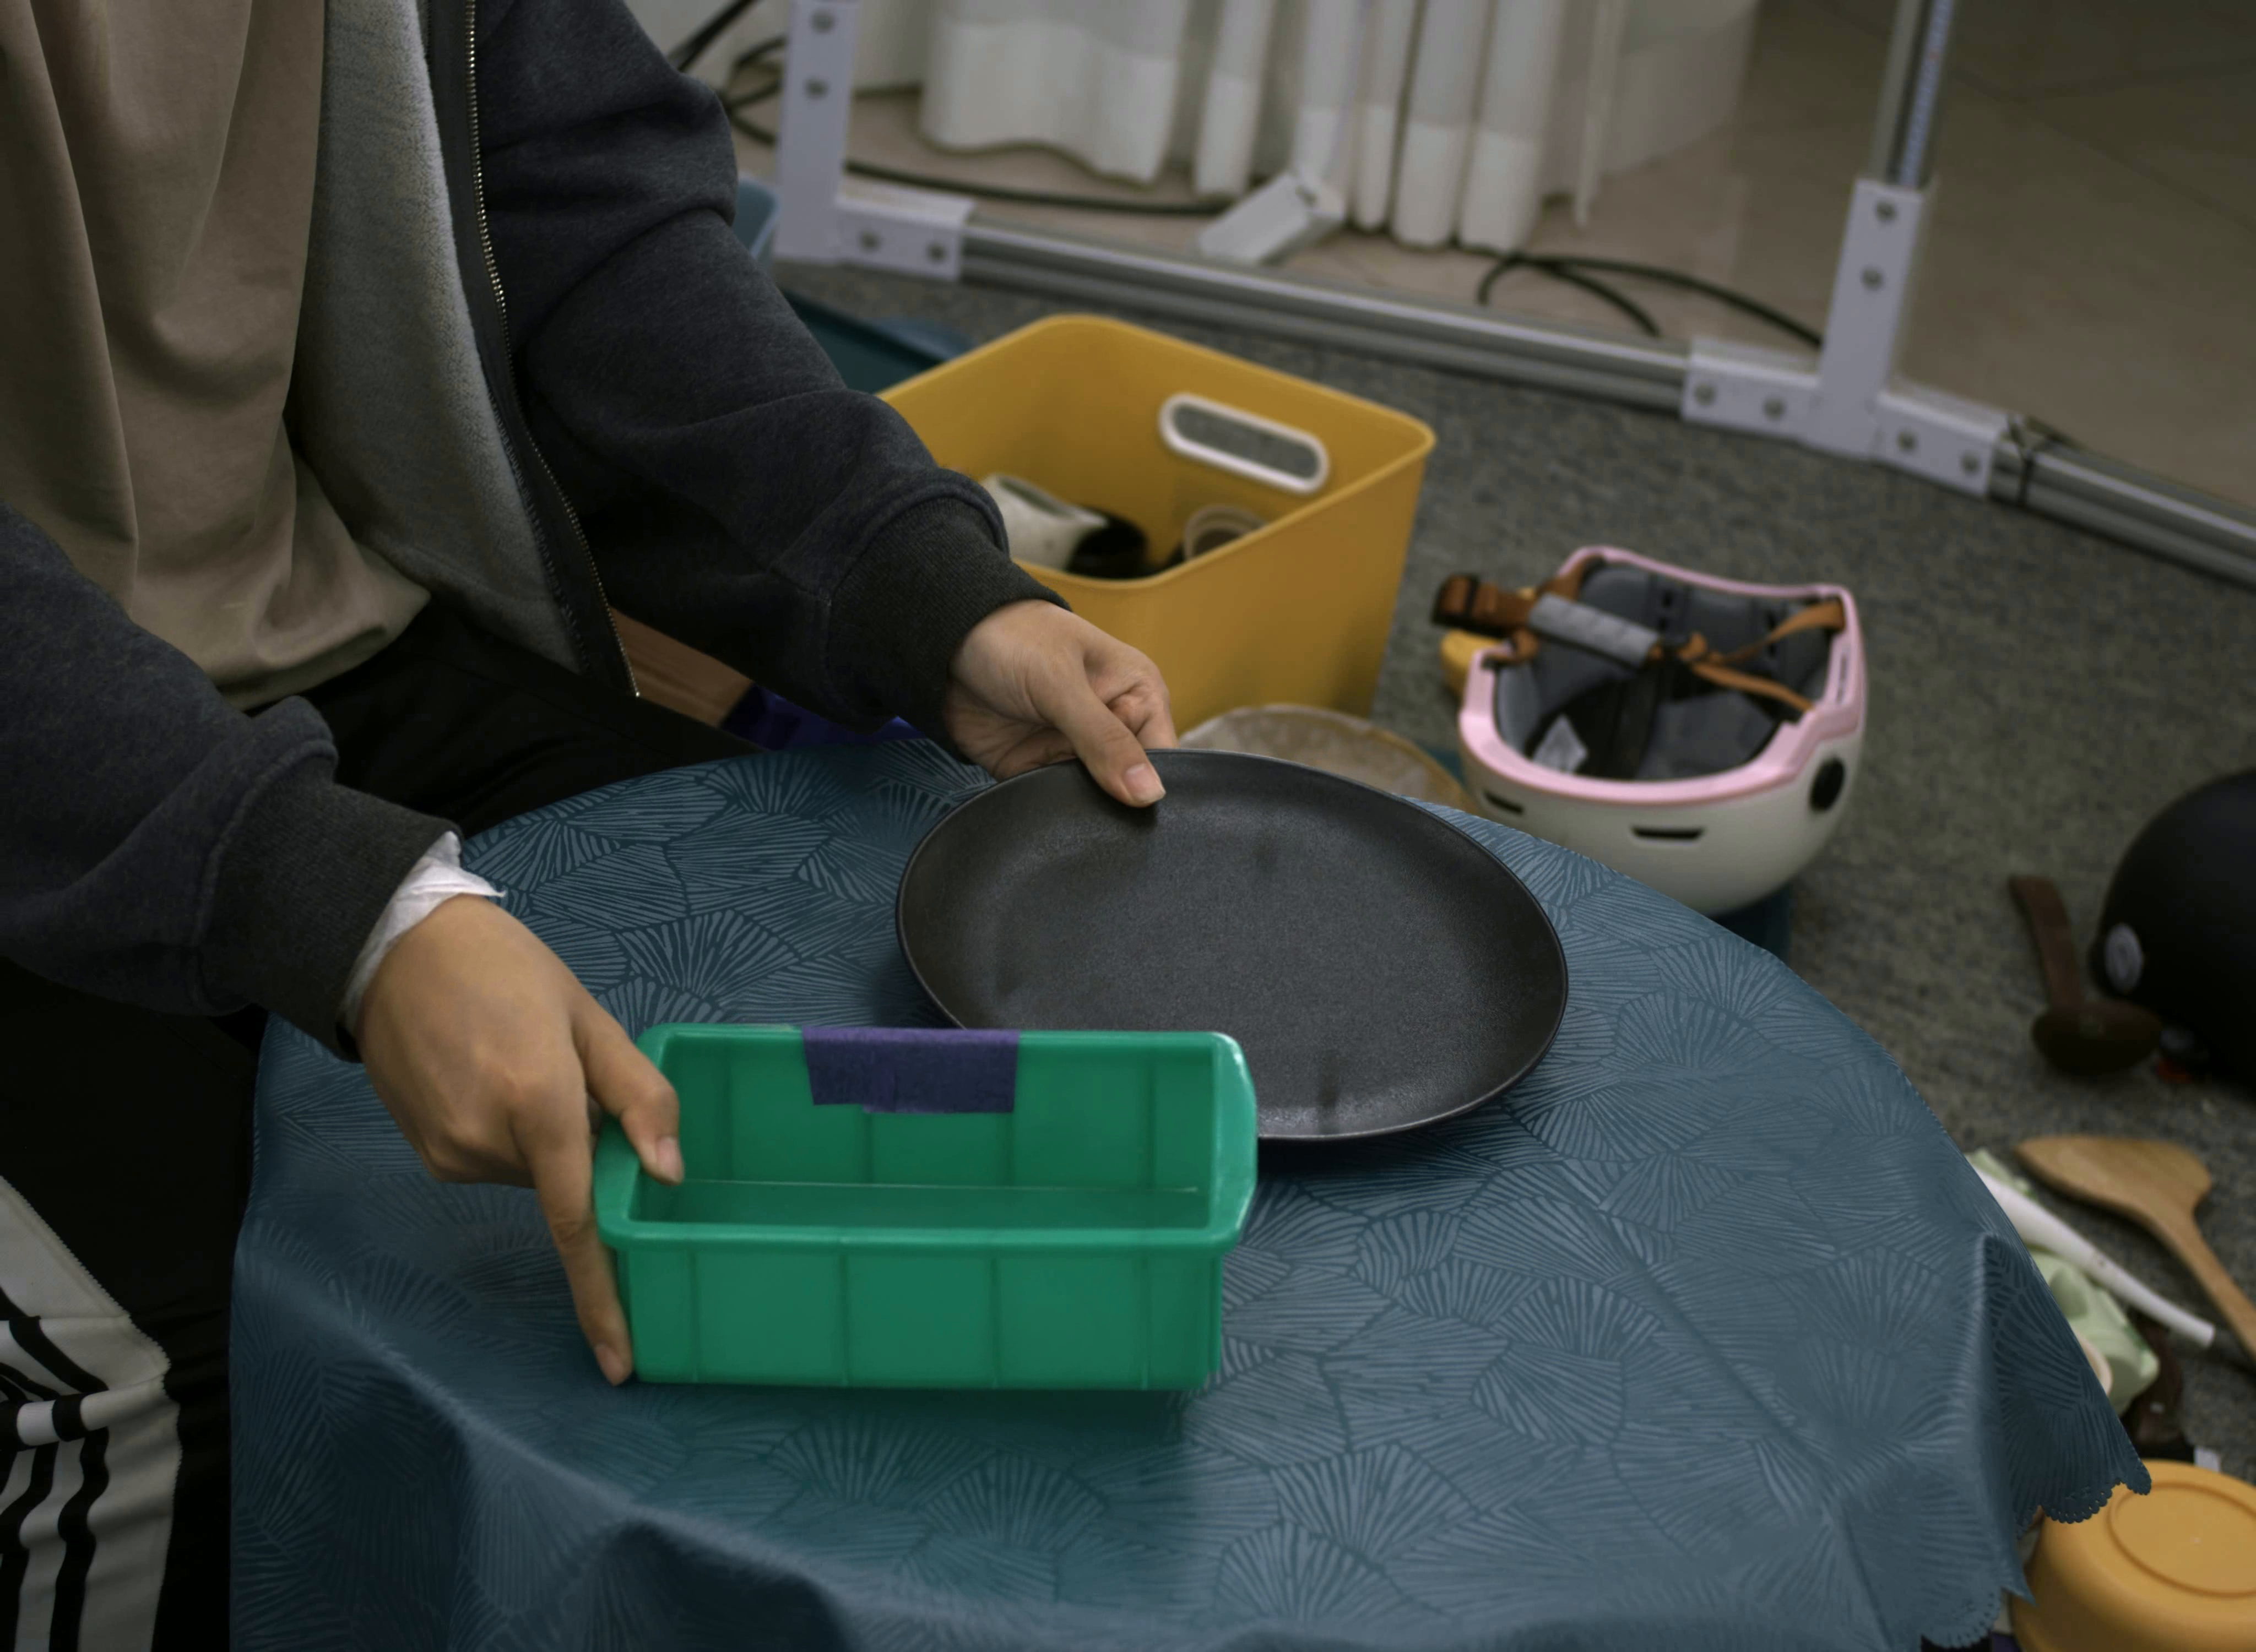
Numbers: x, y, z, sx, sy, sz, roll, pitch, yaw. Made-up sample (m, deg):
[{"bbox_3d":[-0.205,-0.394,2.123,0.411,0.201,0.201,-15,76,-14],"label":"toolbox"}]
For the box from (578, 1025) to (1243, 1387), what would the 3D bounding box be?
[{"bbox_3d":[-0.067,0.123,1.700,0.210,0.065,0.139,-1,24,2],"label":"box"}]

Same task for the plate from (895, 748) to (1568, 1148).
[{"bbox_3d":[0.036,0.047,1.912,0.243,0.023,0.246,5,34,-4],"label":"plate"}]
